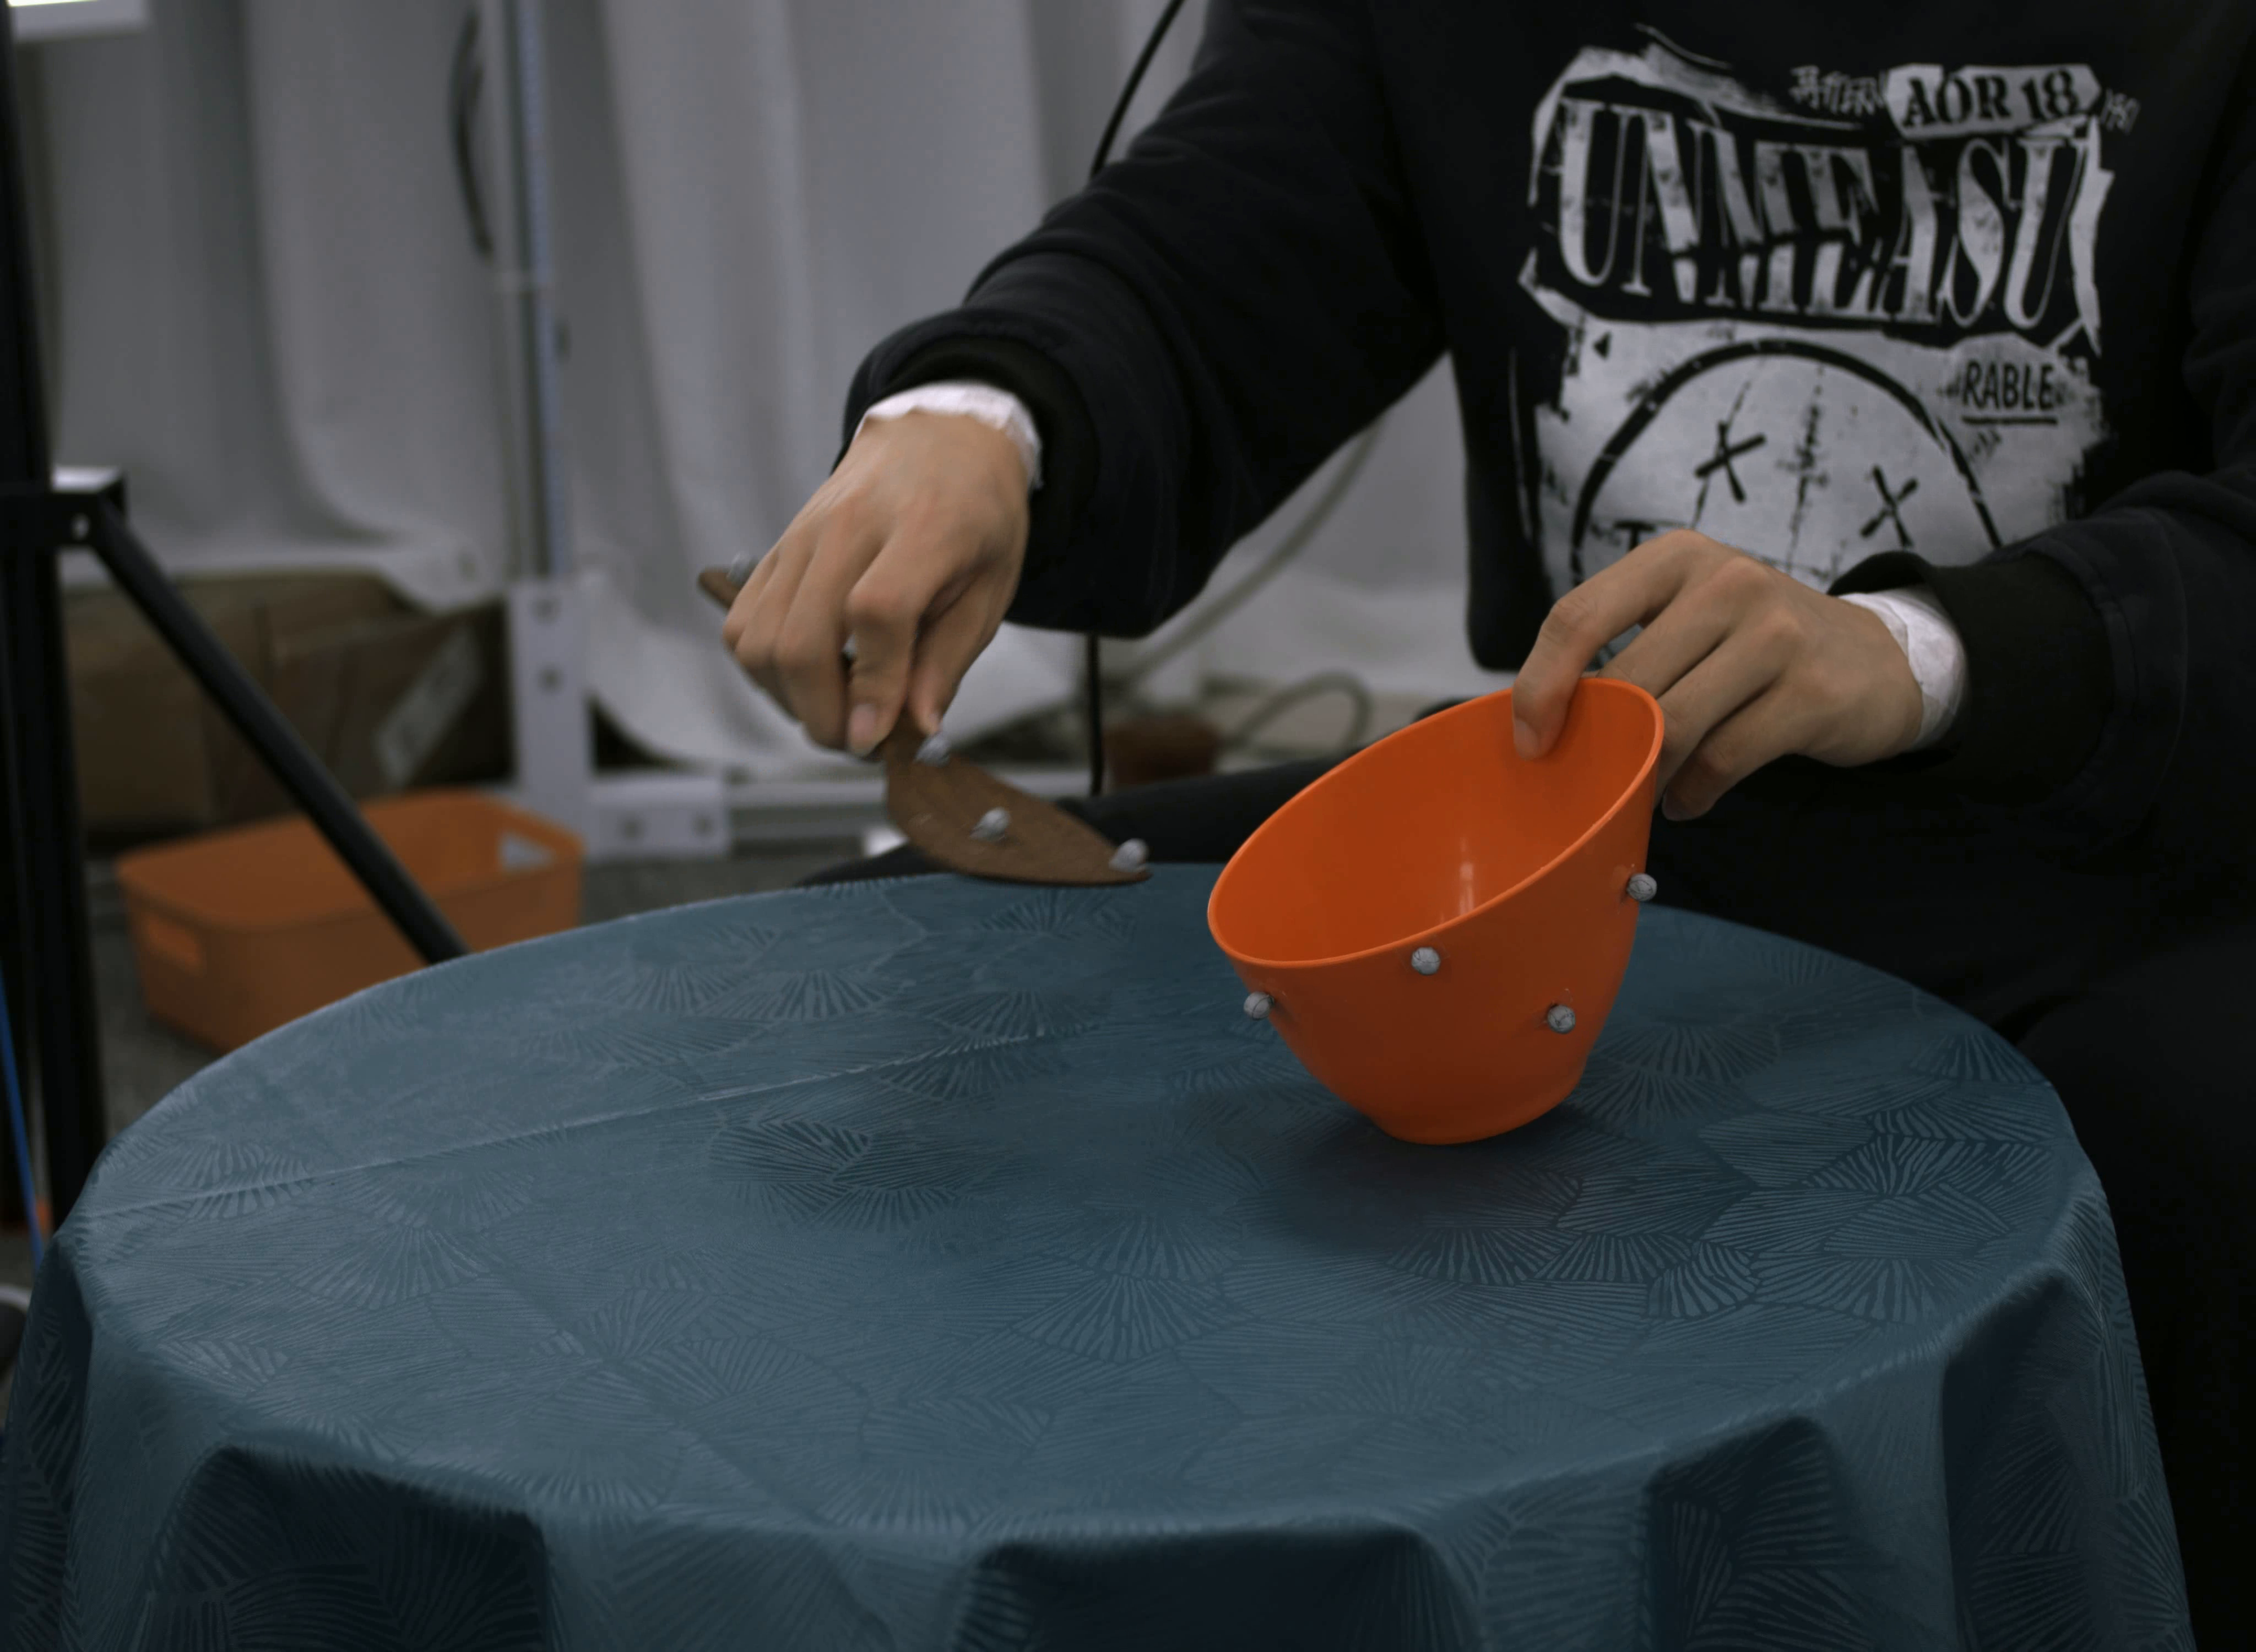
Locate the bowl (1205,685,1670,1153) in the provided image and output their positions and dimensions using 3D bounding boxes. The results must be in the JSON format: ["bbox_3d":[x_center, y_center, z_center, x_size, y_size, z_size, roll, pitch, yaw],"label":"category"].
[{"bbox_3d":[0.102,0.035,1.582,0.148,0.104,0.149,-16,24,6],"label":"bowl"}]

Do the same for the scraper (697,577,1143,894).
[{"bbox_3d":[-0.075,-0.028,1.631,0.074,0.011,0.216,3,26,-36],"label":"scraper"}]
